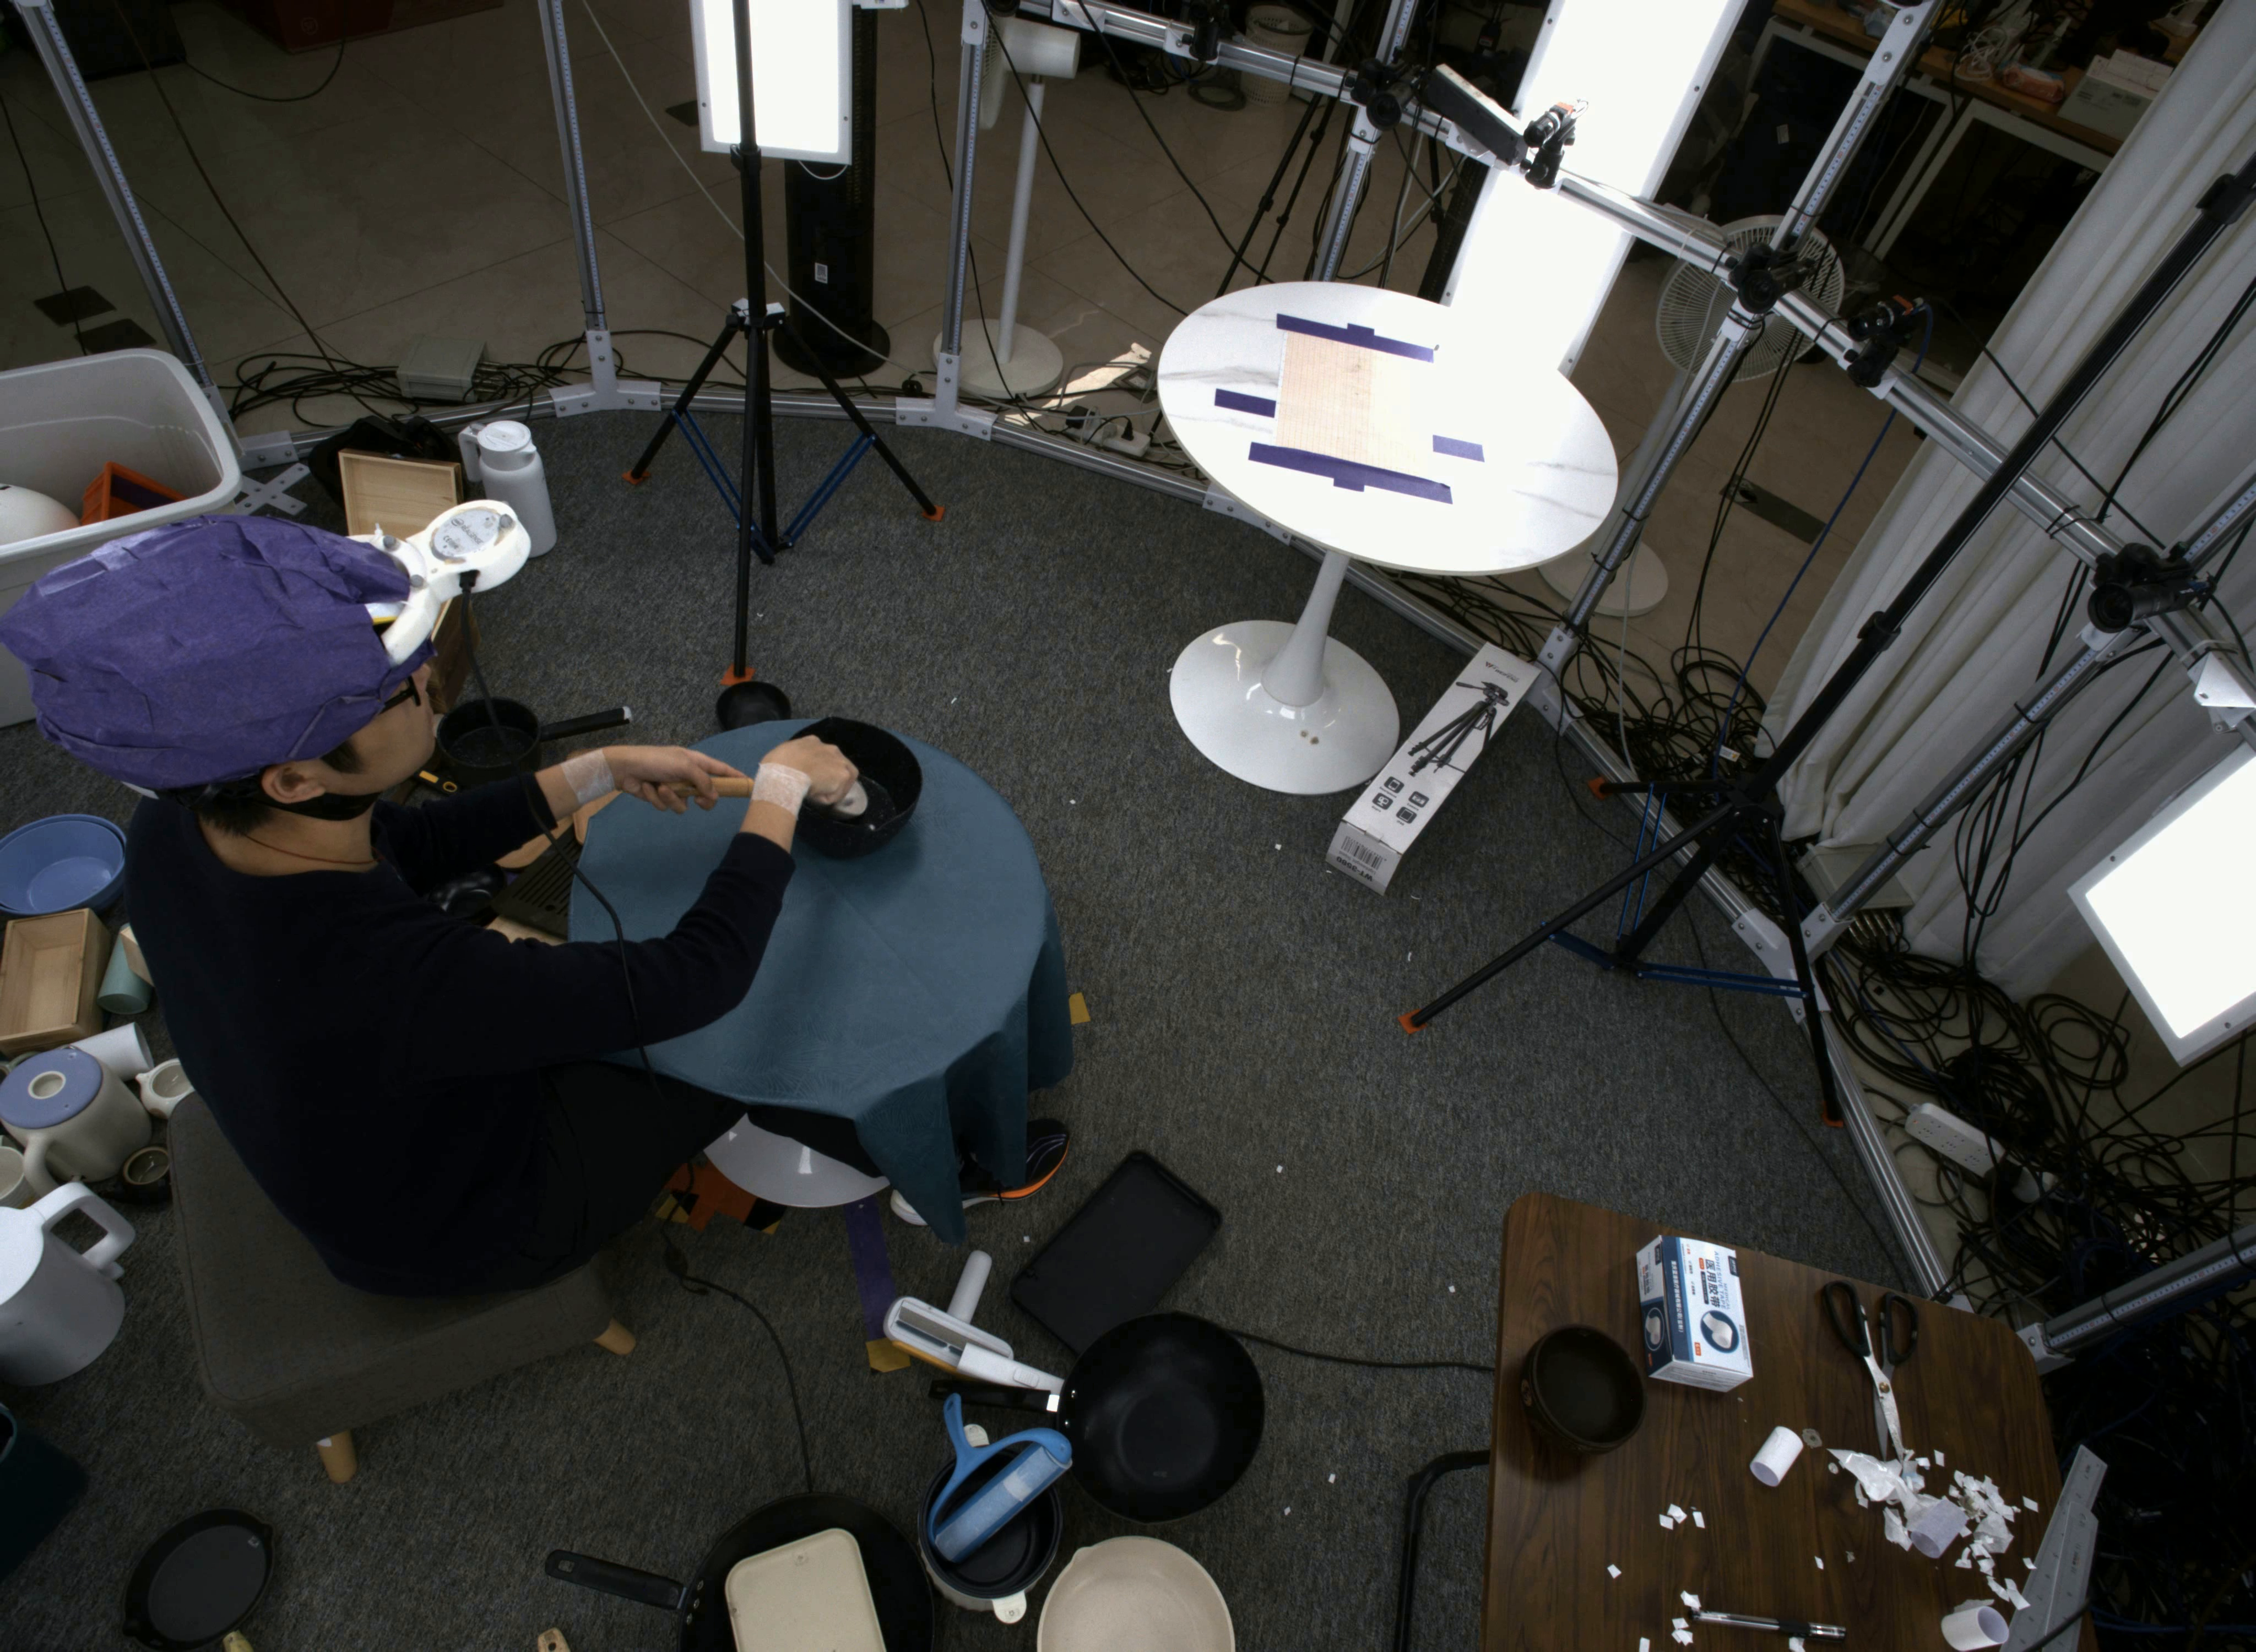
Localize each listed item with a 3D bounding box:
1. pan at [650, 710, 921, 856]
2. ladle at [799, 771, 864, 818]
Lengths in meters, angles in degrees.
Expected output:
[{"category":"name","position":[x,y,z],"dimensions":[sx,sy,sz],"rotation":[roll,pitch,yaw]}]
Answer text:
[{"category":"pan","position":[-0.435,-0.045,1.647],"dimensions":[0.347,0.109,0.202],"rotation":[-8,56,-32]},{"category":"ladle","position":[-0.365,-0.058,1.593],"dimensions":[0.090,0.273,0.069],"rotation":[34,75,-5]}]
